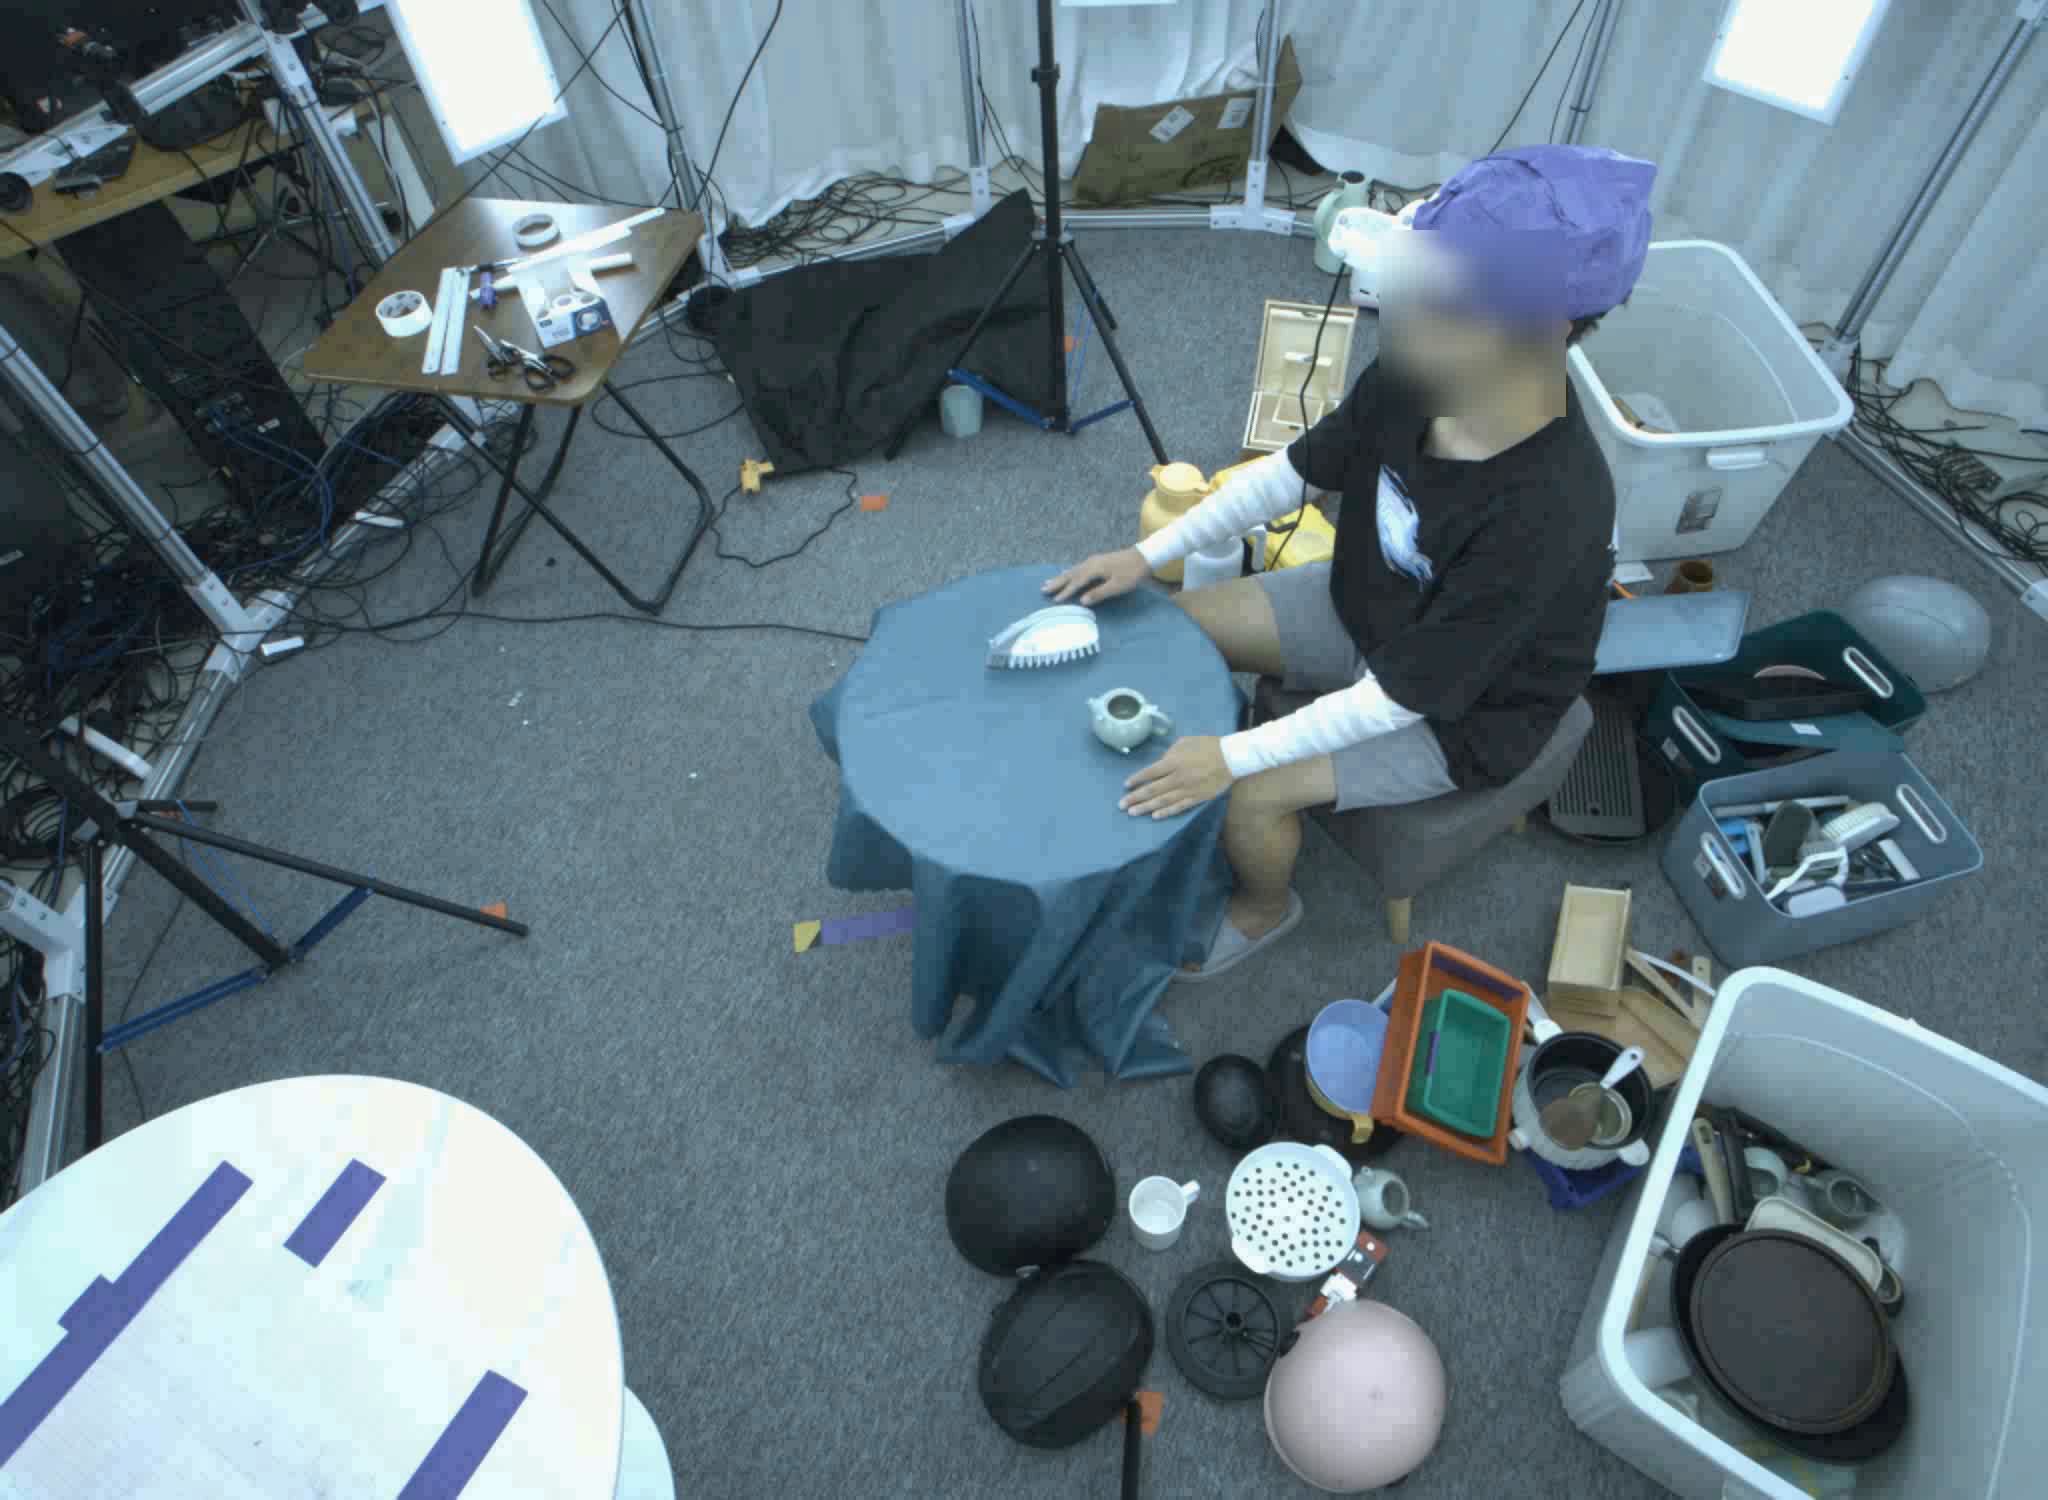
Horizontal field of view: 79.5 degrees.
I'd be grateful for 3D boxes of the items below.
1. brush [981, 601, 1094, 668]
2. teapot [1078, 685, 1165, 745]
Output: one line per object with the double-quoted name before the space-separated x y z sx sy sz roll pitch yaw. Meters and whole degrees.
"brush" 0.015 -0.175 1.847 0.176 0.095 0.060 -14 51 -6
"teapot" 0.140 -0.047 1.771 0.127 0.061 0.091 14 54 12
